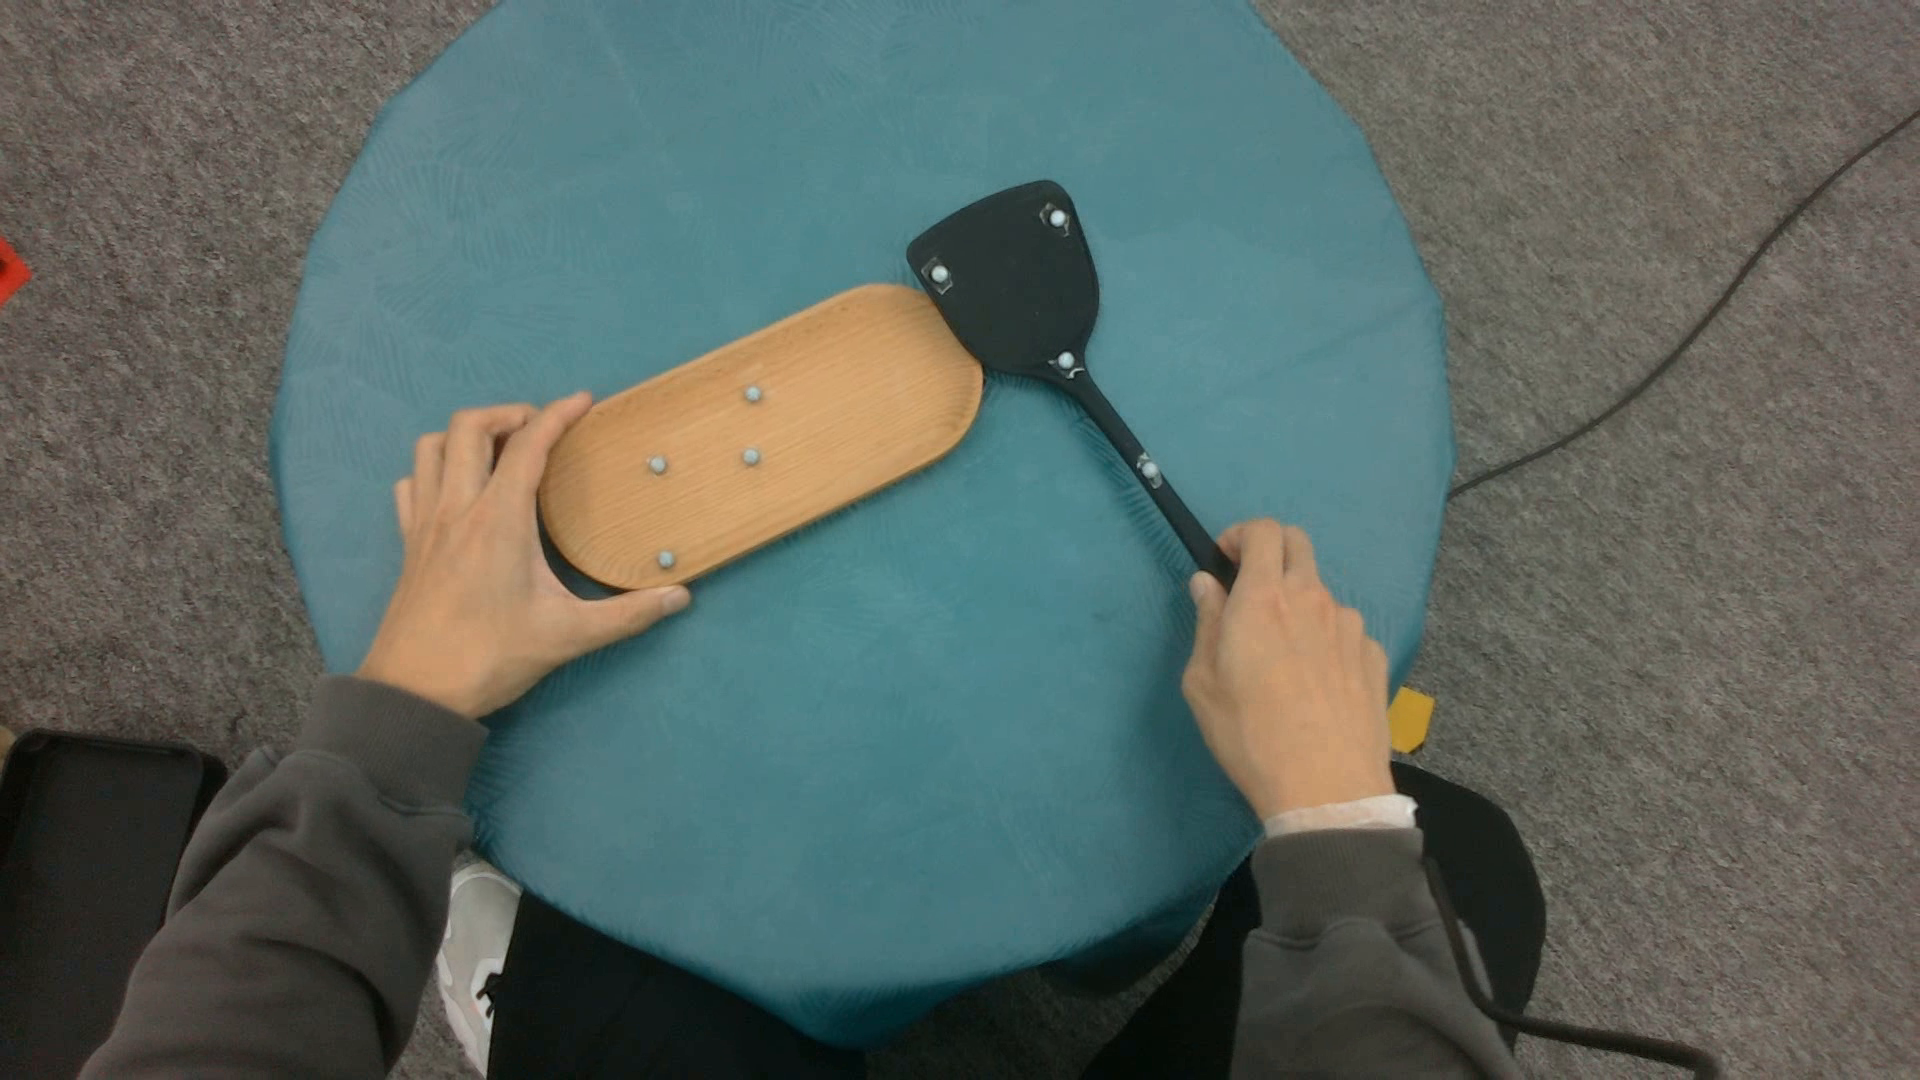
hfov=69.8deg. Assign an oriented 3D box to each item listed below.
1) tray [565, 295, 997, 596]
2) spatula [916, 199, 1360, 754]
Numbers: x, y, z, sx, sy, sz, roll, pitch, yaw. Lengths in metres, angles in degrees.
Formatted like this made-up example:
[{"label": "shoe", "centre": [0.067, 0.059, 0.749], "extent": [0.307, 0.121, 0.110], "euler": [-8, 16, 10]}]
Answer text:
[{"label": "tray", "centre": [-0.089, -0.049, 0.706], "extent": [0.231, 0.020, 0.102], "euler": [-26, 79, -11]}, {"label": "spatula", "centre": [0.099, -0.033, 0.689], "extent": [0.100, 0.040, 0.326], "euler": [-30, 72, -18]}]
